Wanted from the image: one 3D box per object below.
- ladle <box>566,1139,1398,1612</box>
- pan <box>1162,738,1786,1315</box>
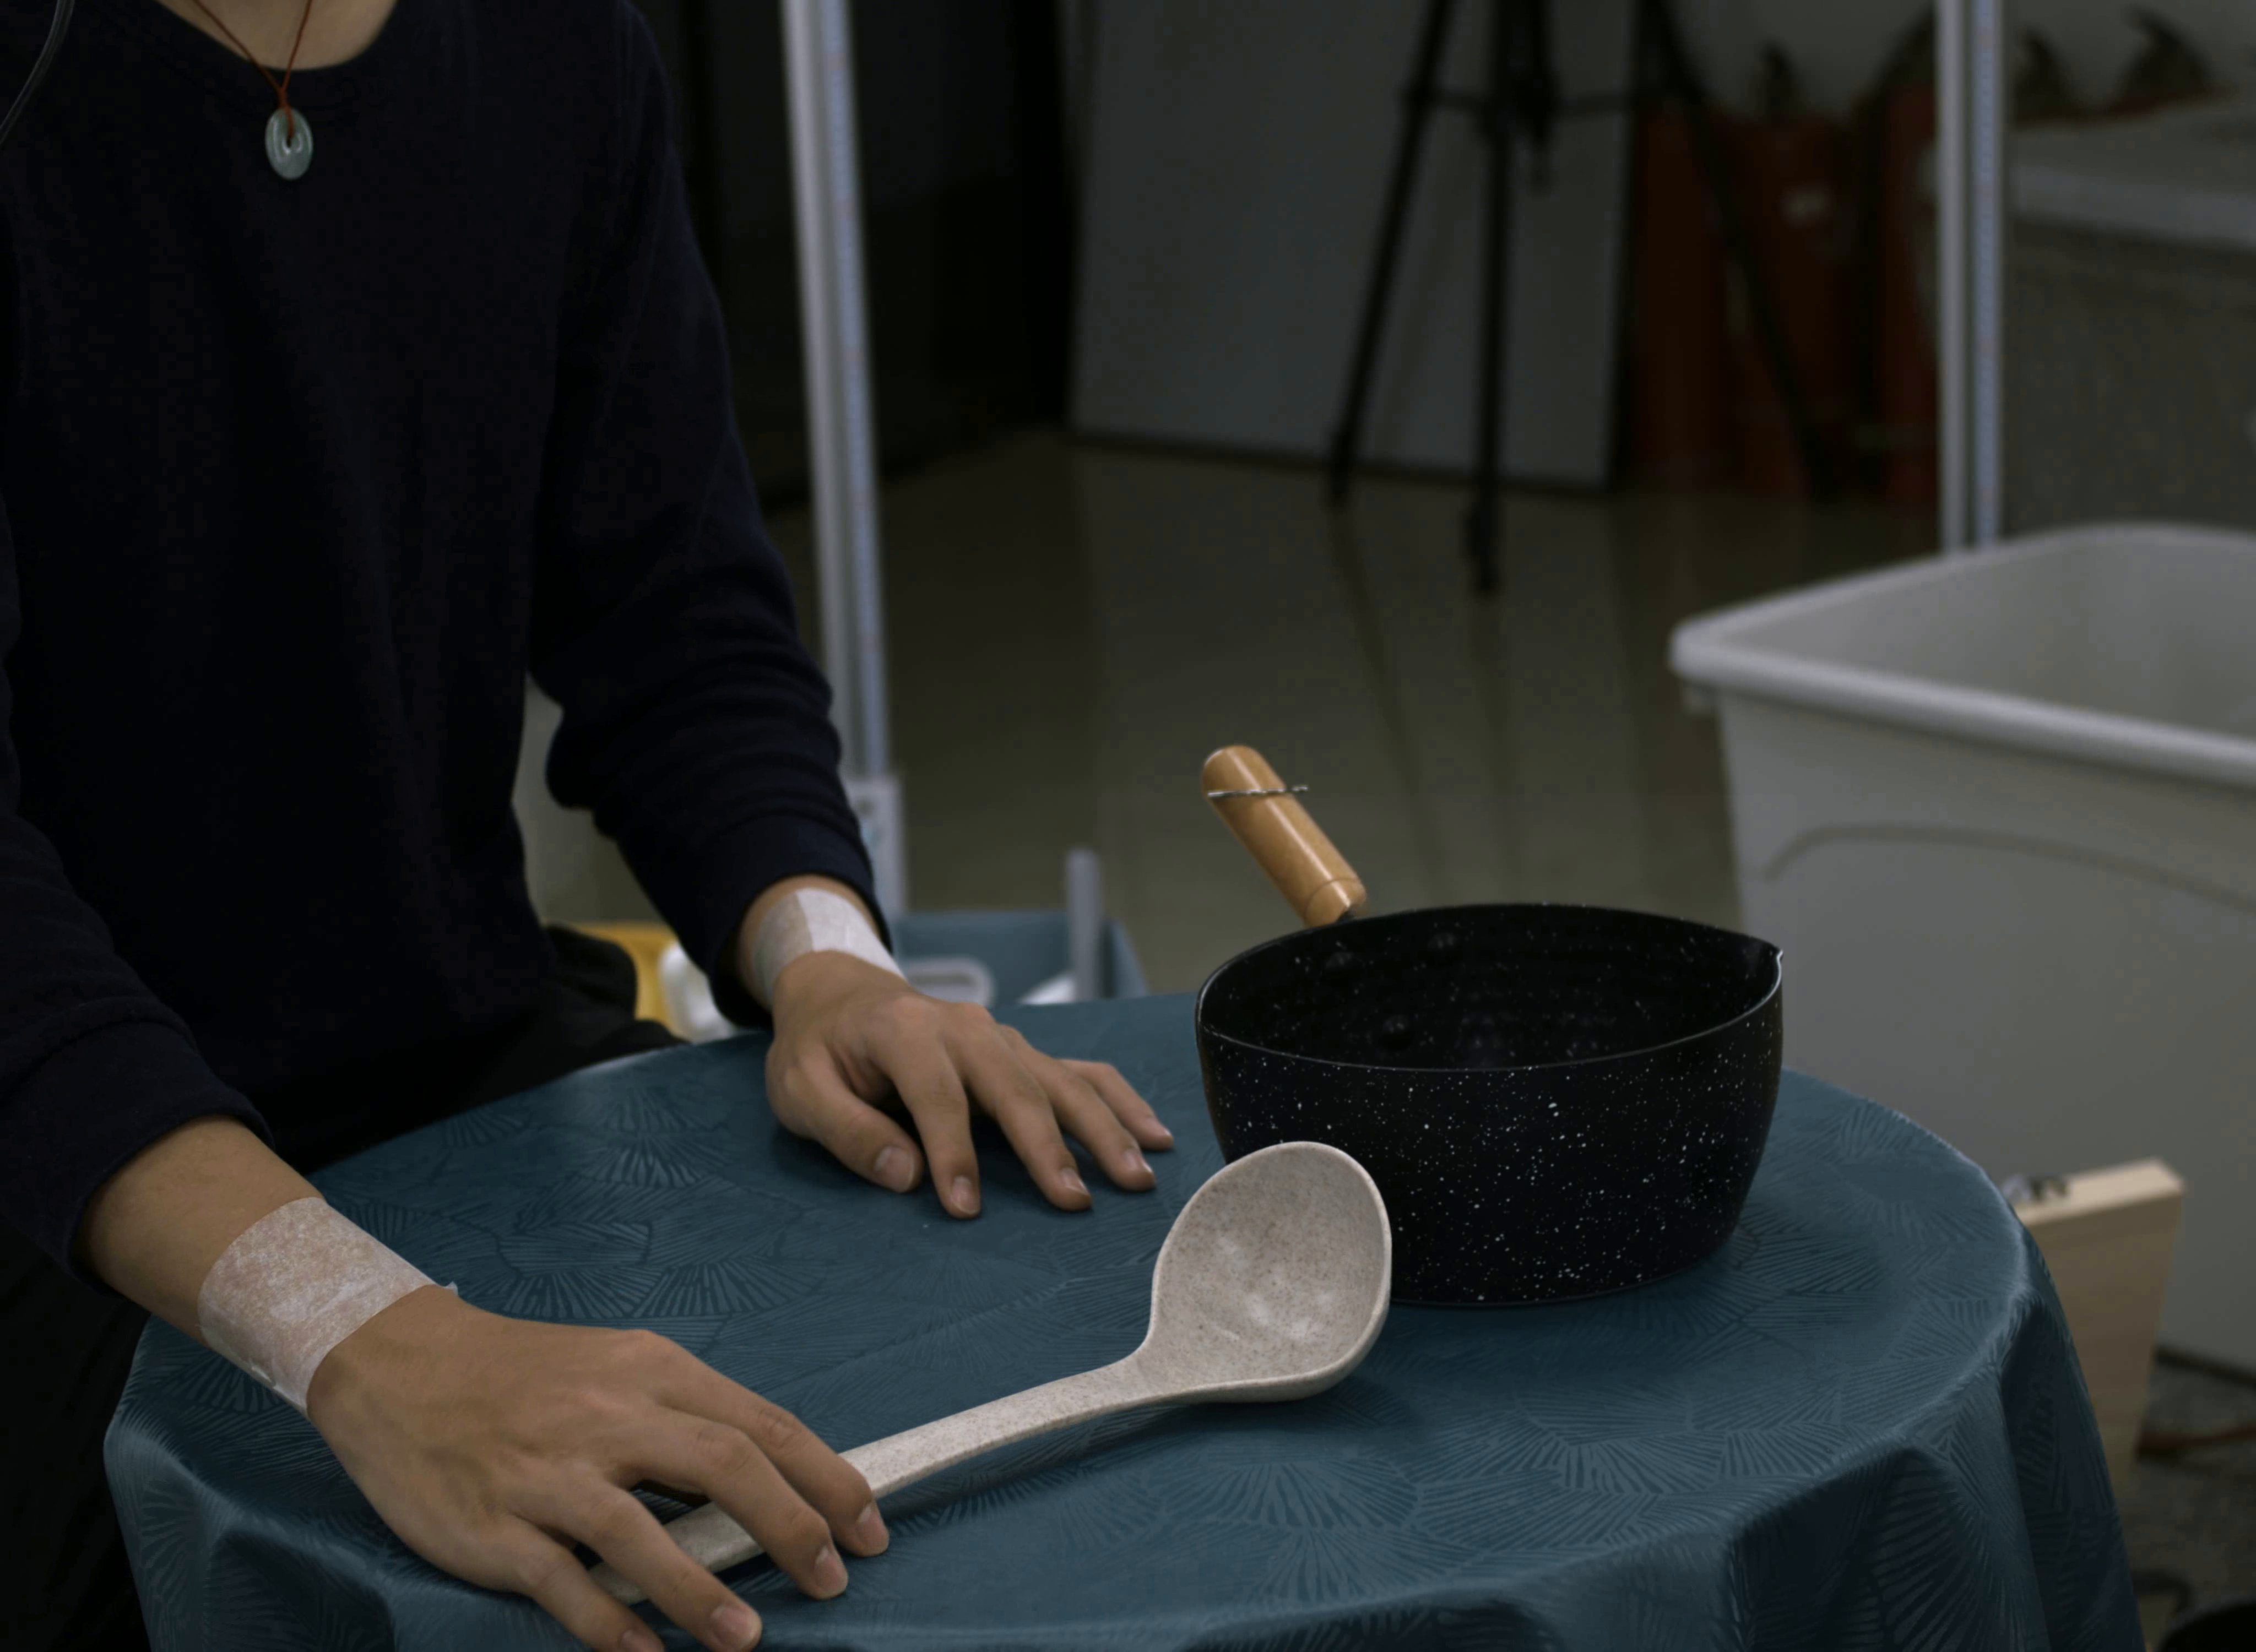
[{"bbox_3d":[-0.040,0.151,1.511,0.269,0.070,0.090,-14,31,-36],"label":"ladle"},{"bbox_3d":[0.089,0.060,1.765,0.203,0.109,0.346,-10,16,-17],"label":"pan"}]
